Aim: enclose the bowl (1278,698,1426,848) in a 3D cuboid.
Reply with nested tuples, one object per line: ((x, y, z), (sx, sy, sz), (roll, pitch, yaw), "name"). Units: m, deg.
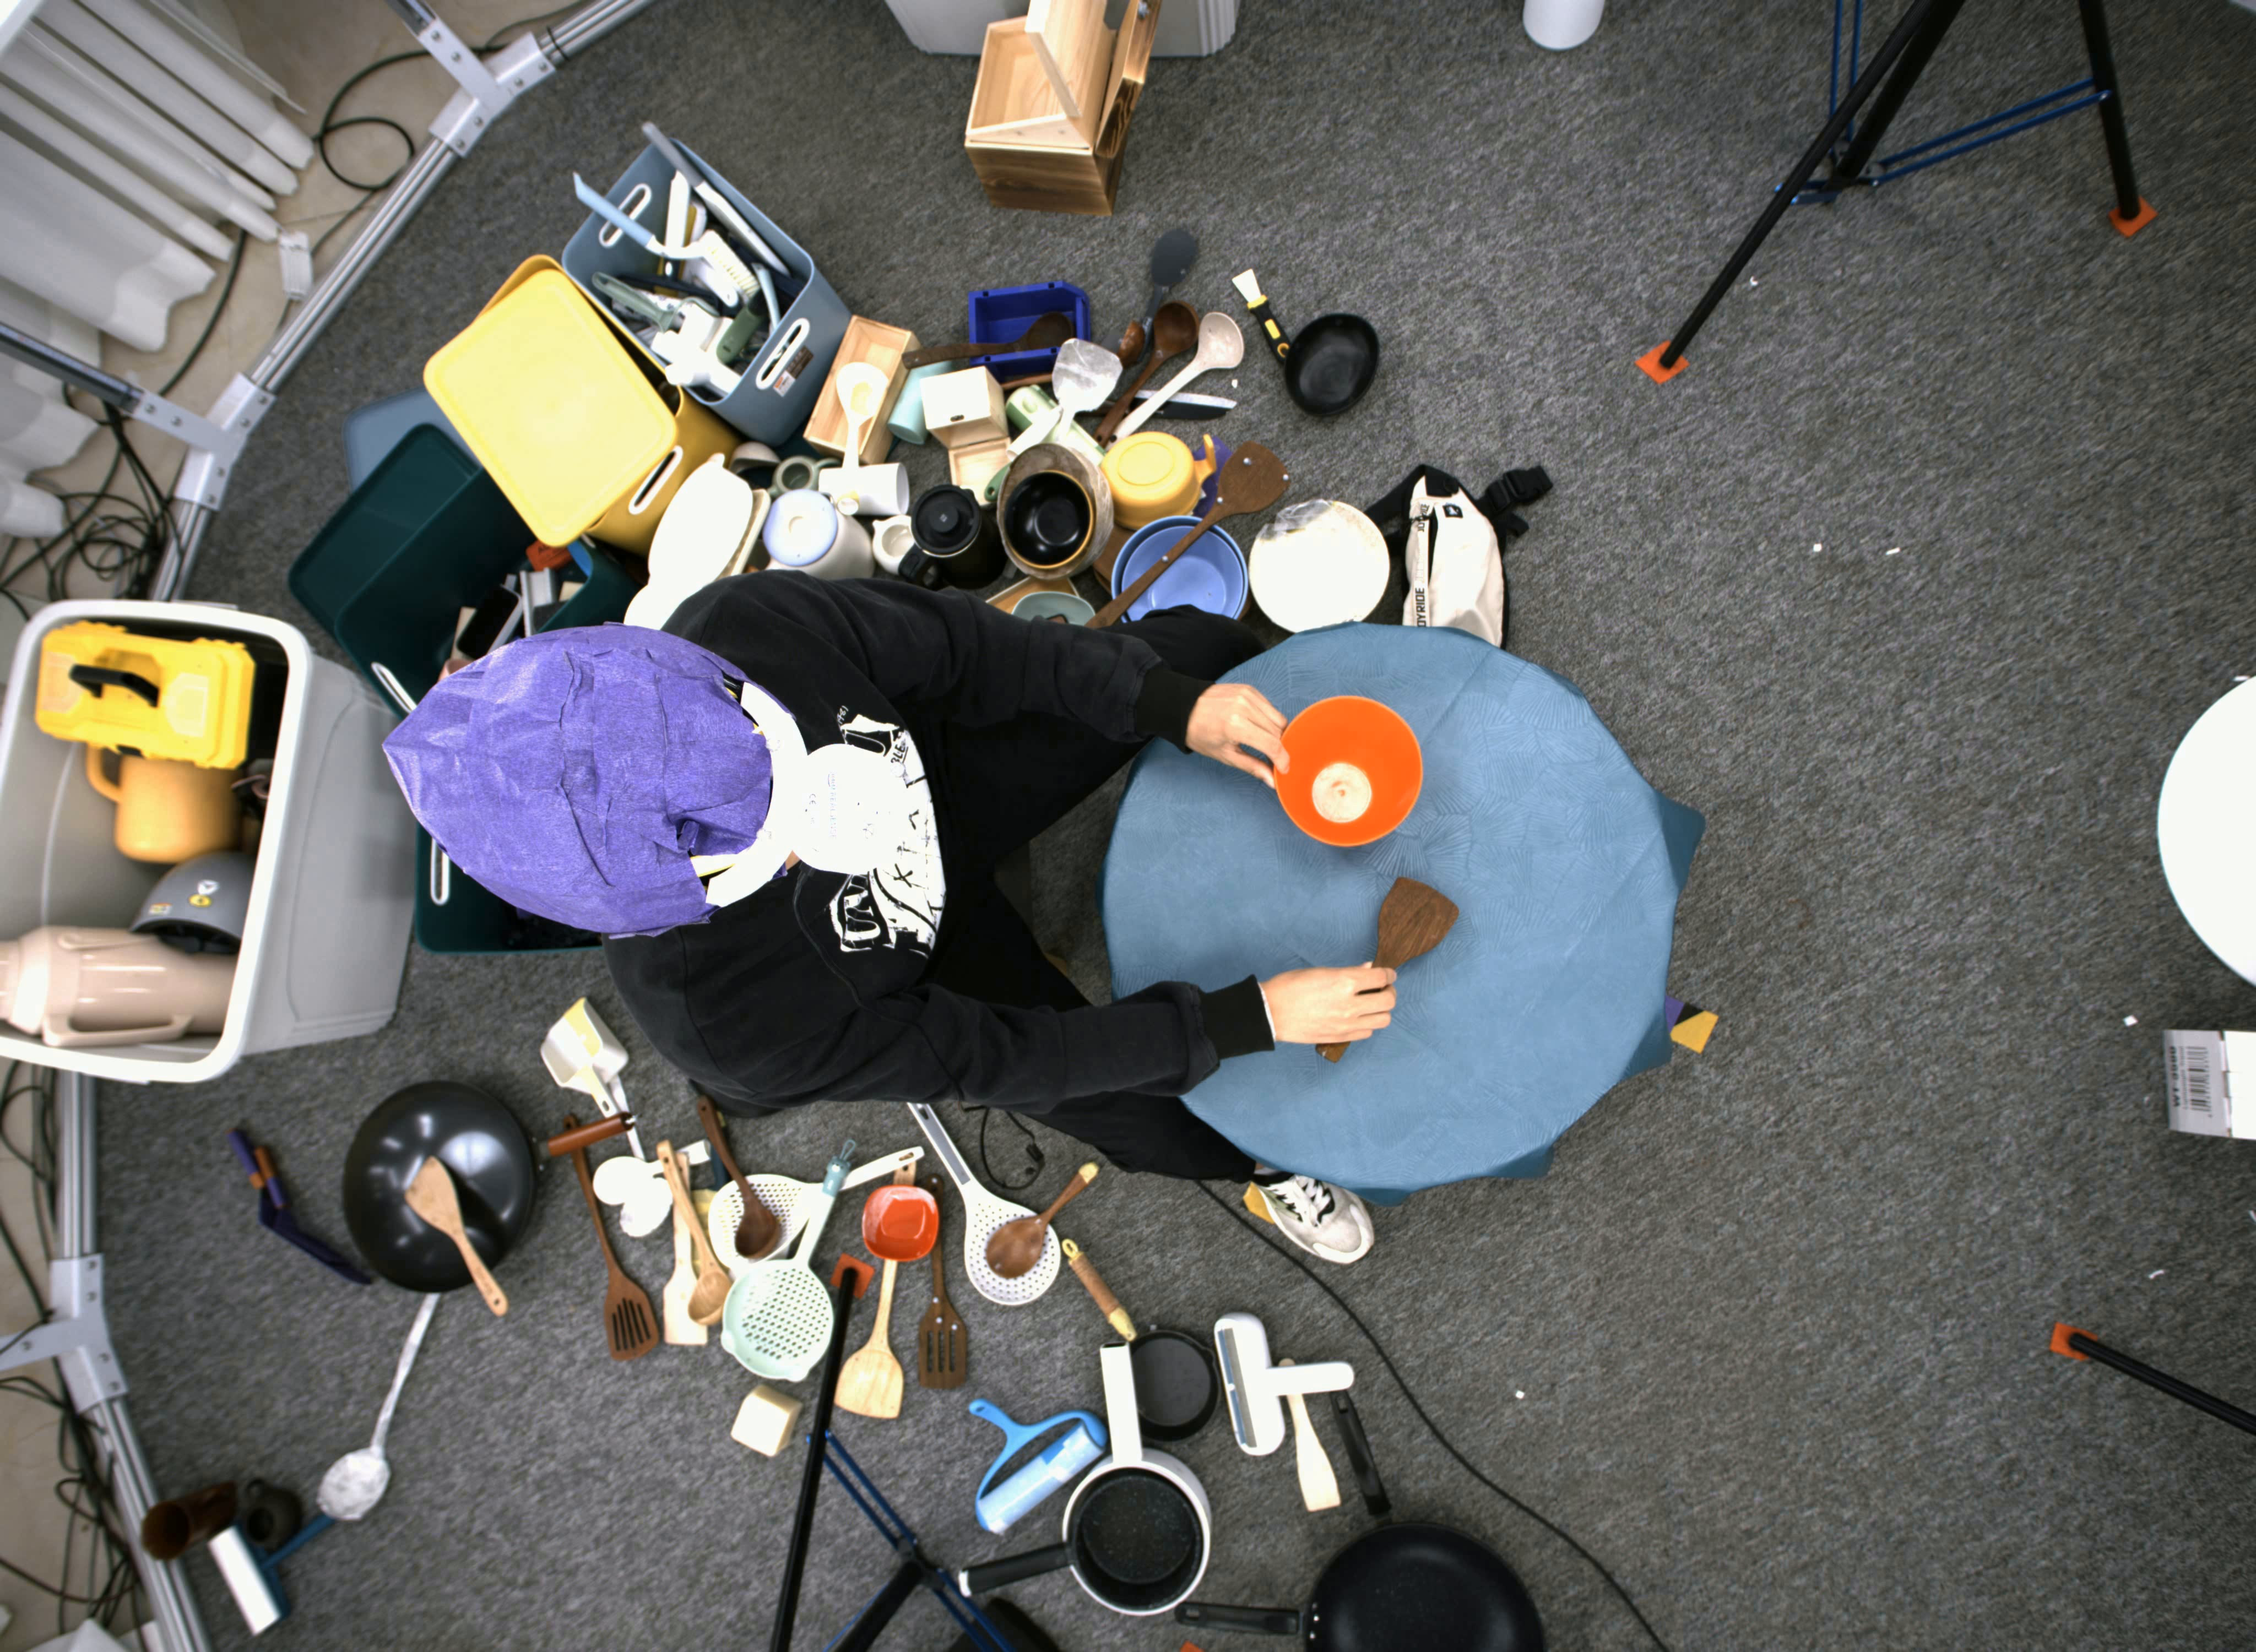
((0.225, -0.049, 1.411), (0.148, 0.105, 0.147), (0, 85, 4), "bowl")

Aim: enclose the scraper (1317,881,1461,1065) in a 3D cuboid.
((0.255, 0.149, 1.394), (0.075, 0.011, 0.208), (33, 75, 13), "scraper")
